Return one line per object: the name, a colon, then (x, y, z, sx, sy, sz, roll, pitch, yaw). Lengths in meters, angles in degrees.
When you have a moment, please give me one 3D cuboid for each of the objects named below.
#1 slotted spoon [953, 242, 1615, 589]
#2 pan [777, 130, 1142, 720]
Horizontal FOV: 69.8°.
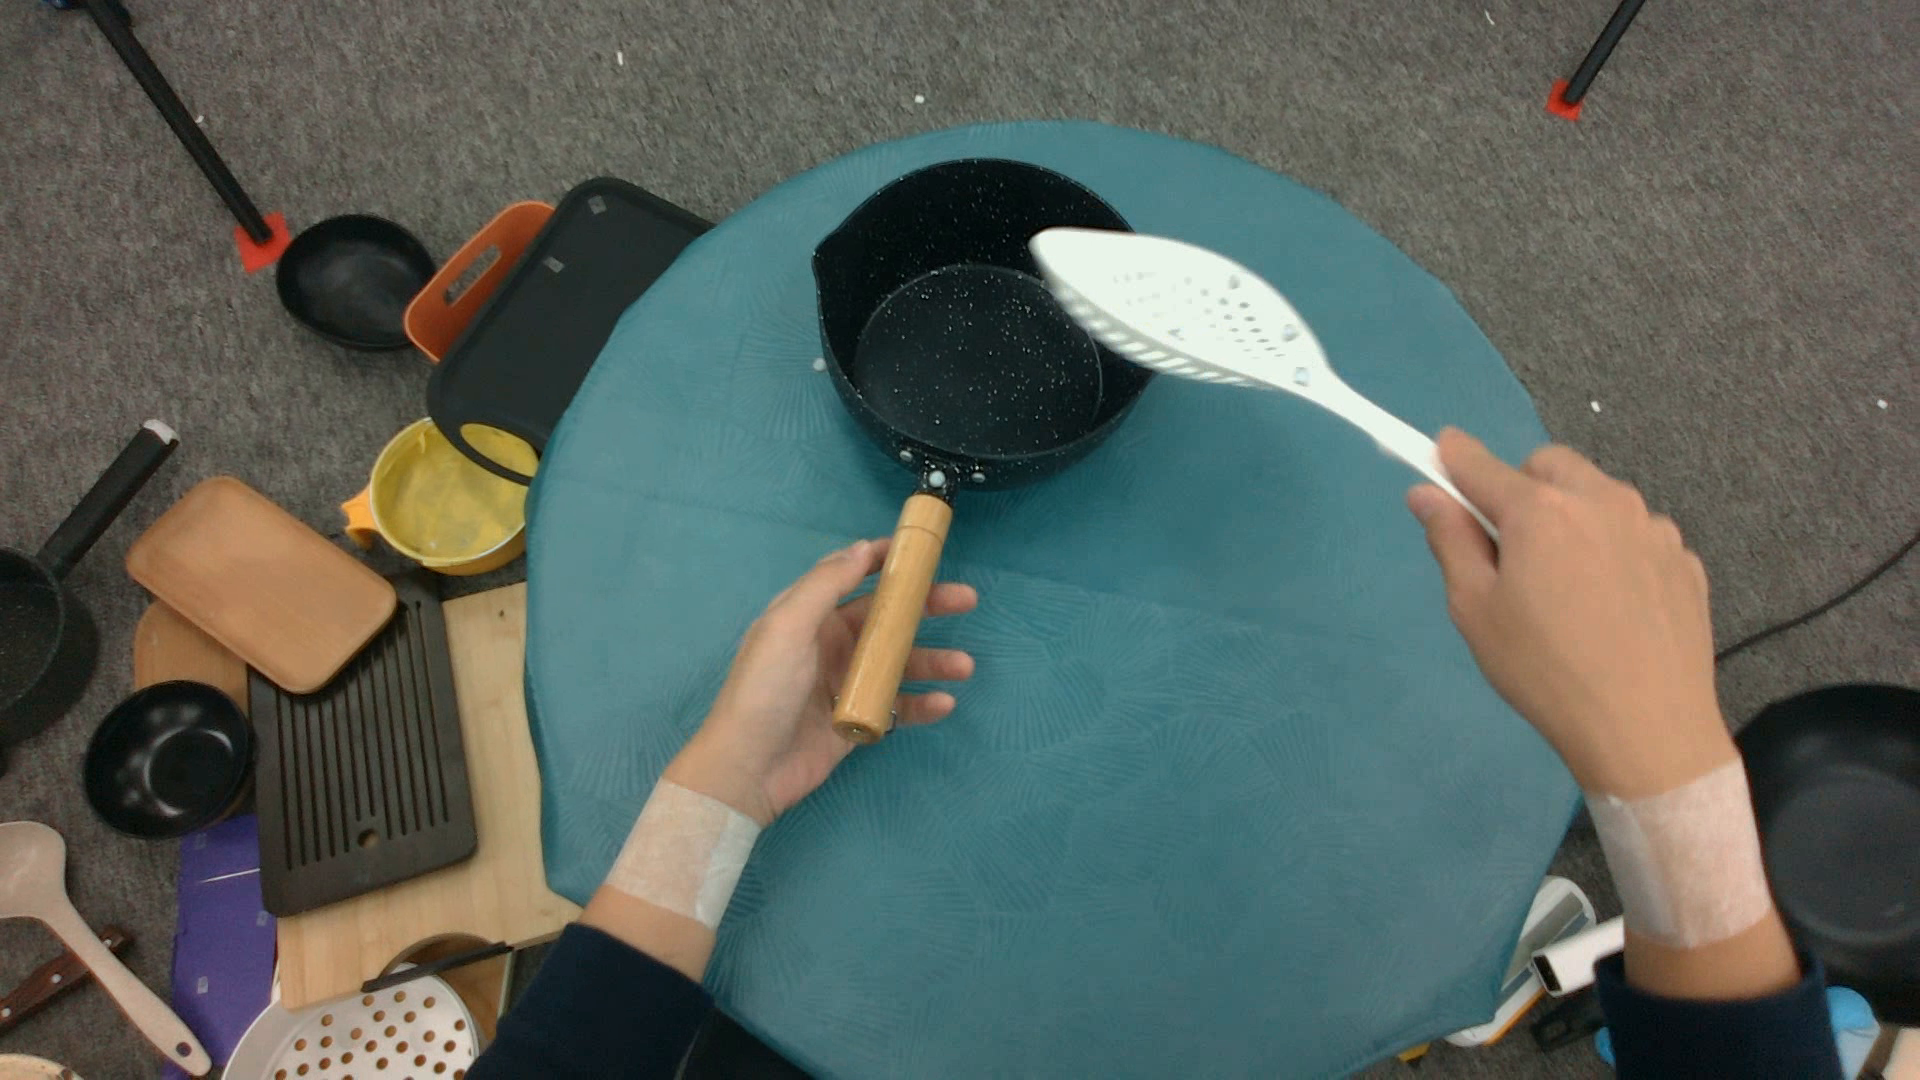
slotted spoon: (0.127, -0.069, 0.603, 0.137, 0.050, 0.348, -8, 27, -36)
pan: (-0.017, -0.057, 0.726, 0.207, 0.108, 0.344, 15, 68, -1)
